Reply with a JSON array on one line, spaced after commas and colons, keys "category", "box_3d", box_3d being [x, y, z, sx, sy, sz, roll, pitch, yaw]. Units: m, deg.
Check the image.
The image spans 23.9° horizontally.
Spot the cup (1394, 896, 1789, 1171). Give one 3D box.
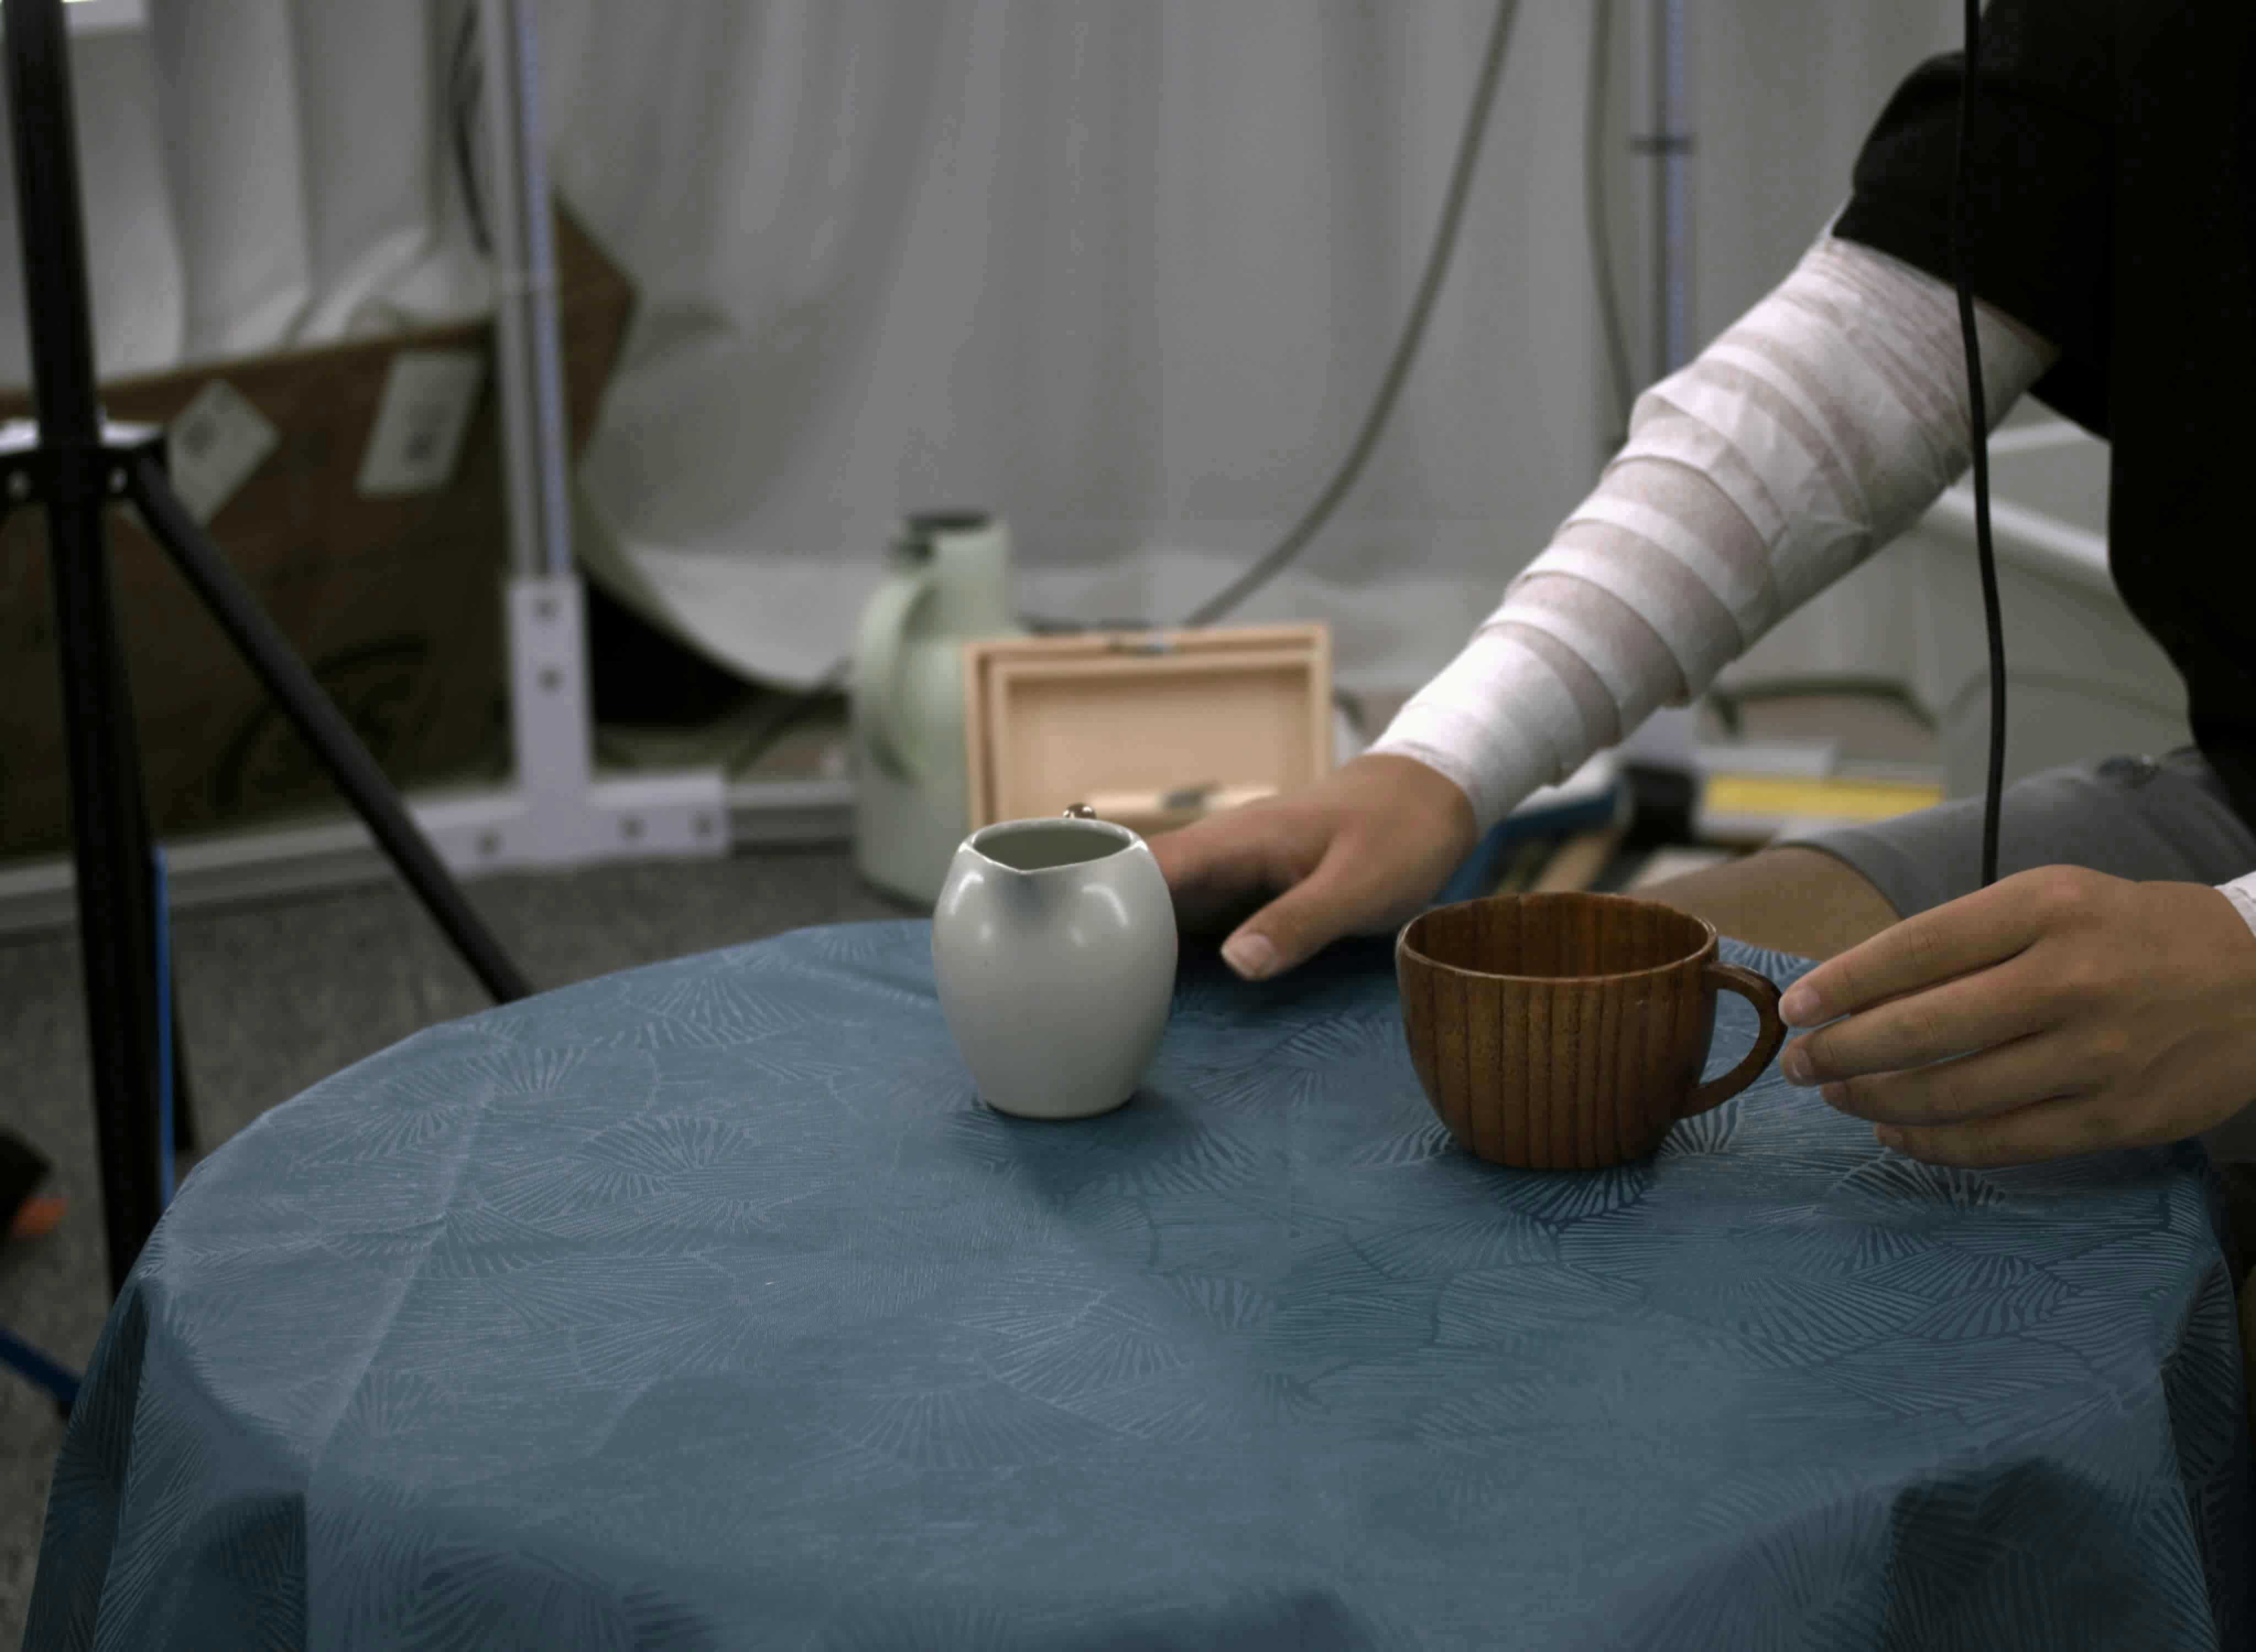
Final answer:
[{"category": "cup", "box_3d": [0.137, 0.065, 1.573, 0.121, 0.068, 0.094, 7, 14, 25]}]

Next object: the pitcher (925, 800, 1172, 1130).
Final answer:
[{"category": "pitcher", "box_3d": [-0.022, 0.042, 1.633, 0.076, 0.088, 0.118, 7, 21, 13]}]
